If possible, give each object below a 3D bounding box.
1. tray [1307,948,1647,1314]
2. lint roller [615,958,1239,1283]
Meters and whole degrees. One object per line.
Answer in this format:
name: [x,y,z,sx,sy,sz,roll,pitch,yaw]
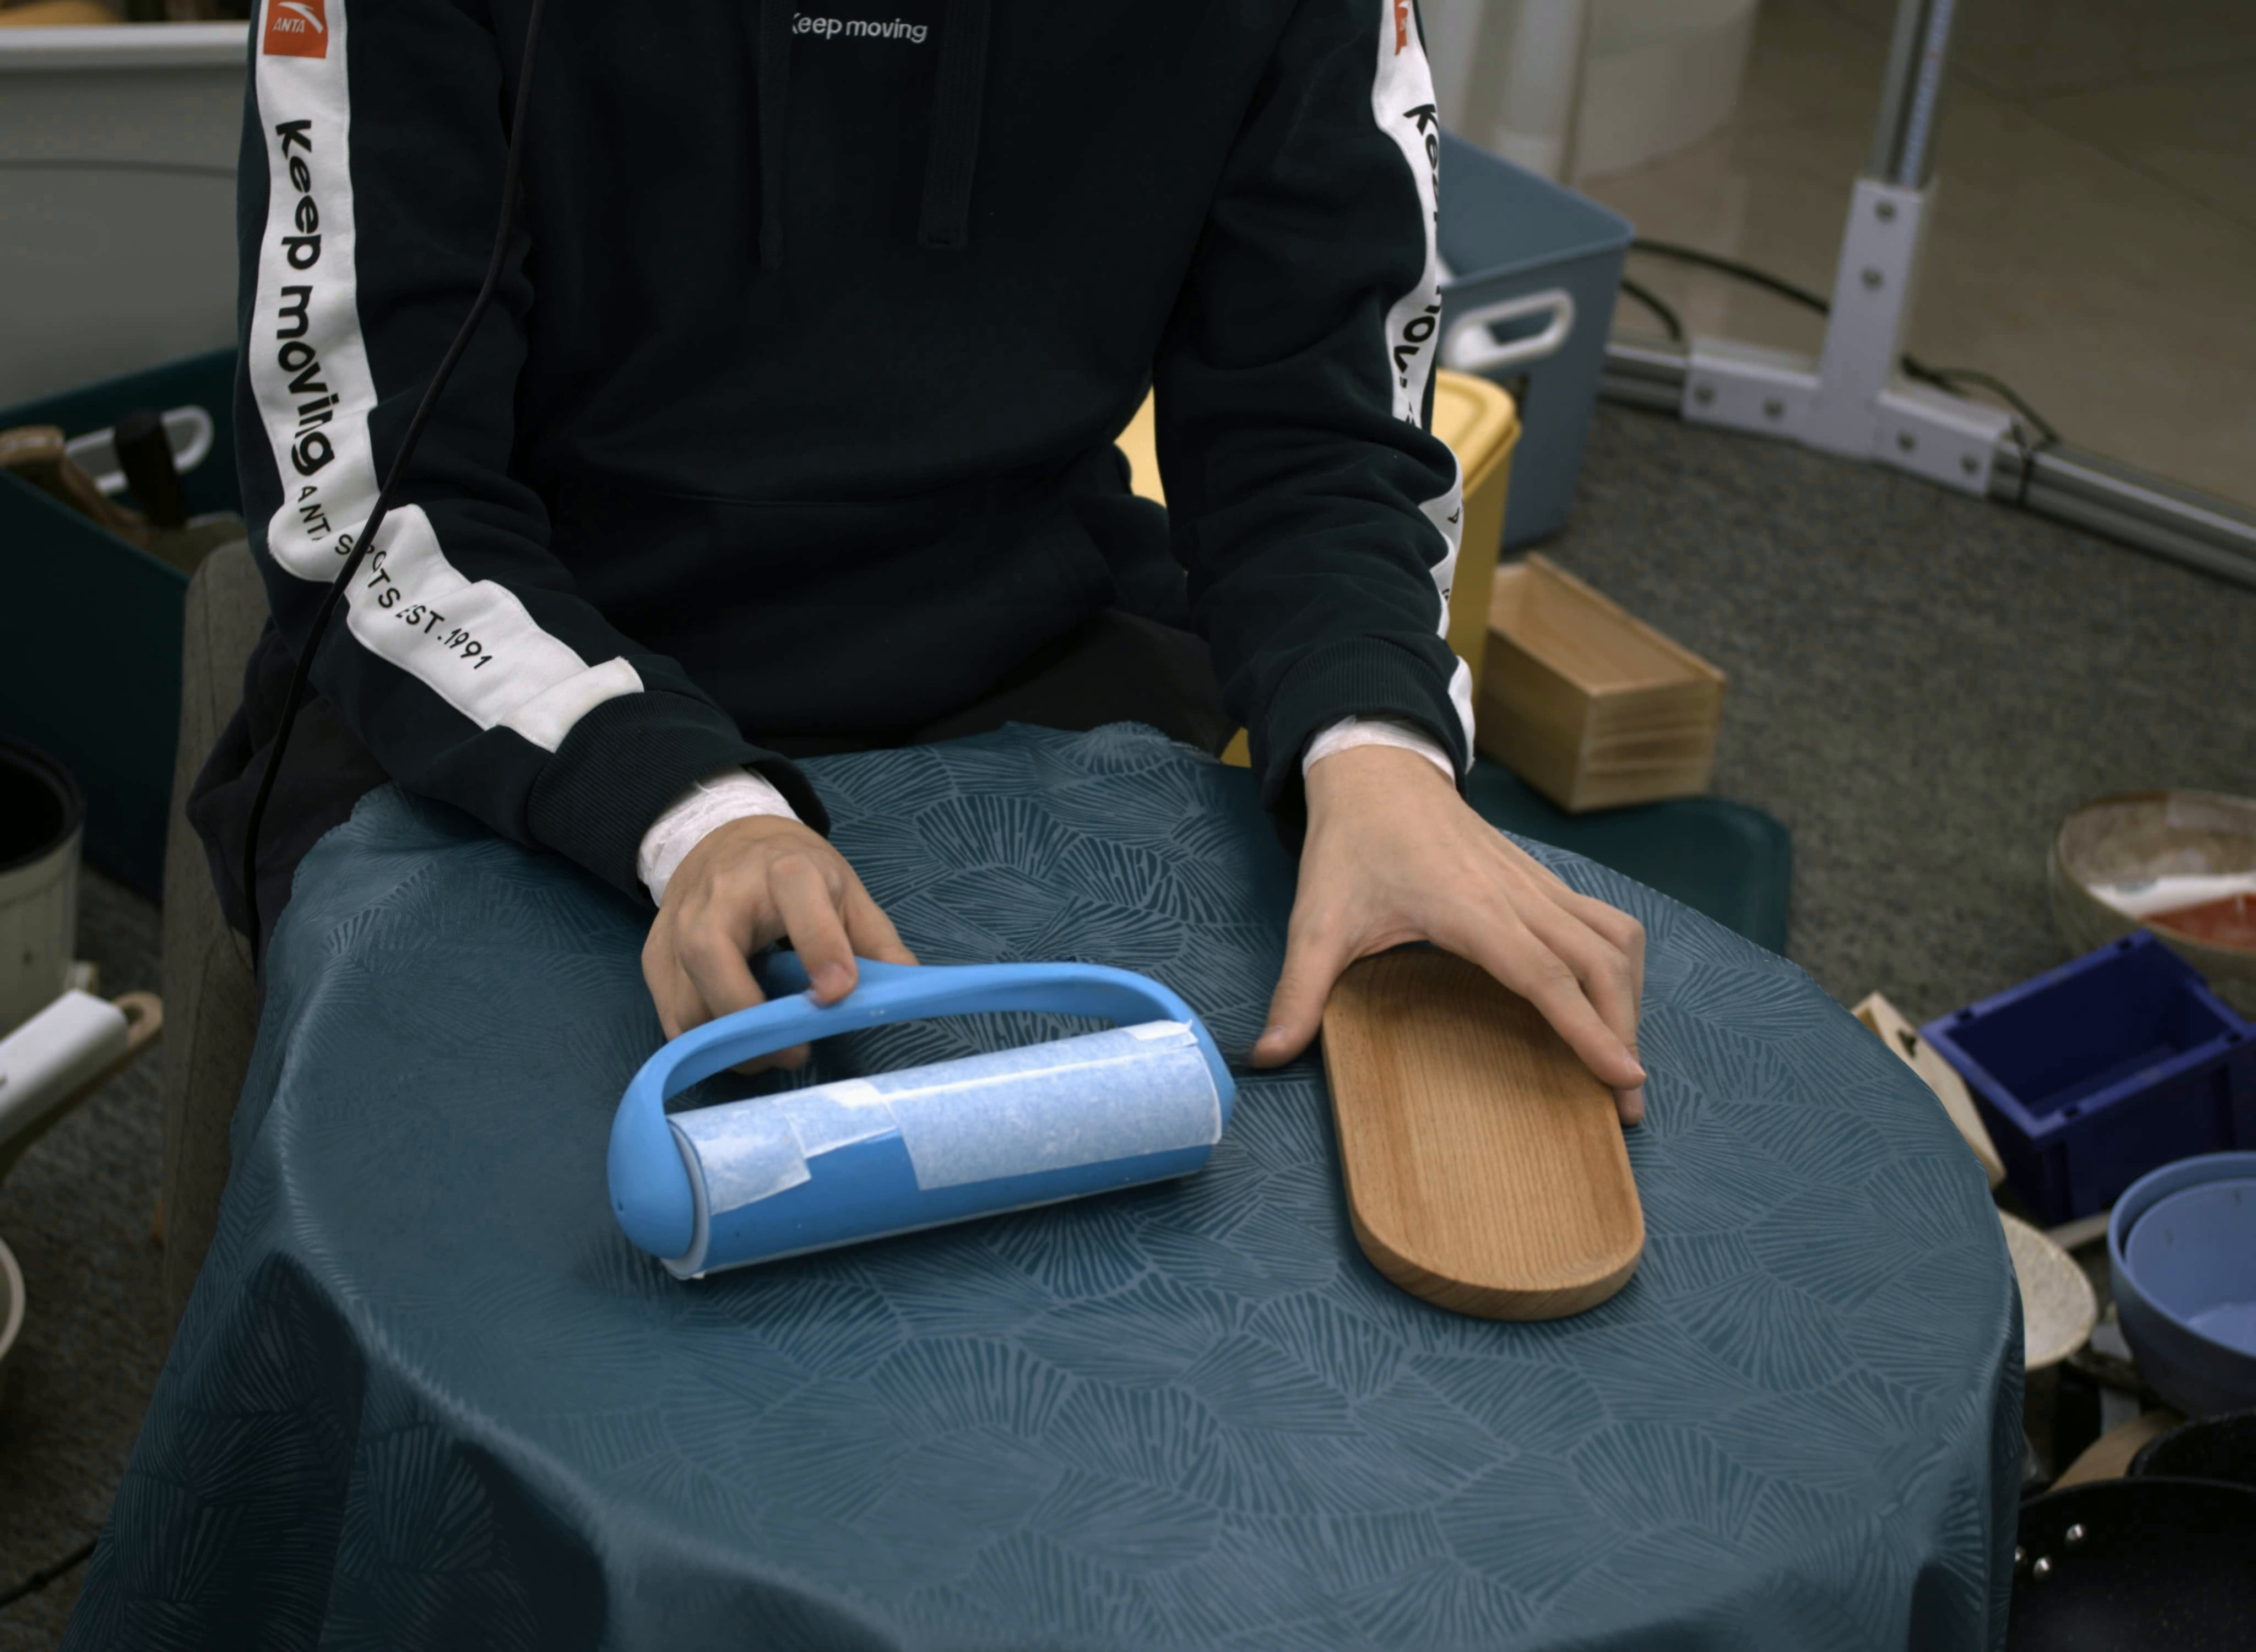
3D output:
tray: [0.119,0.103,1.847,0.101,0.020,0.233,4,25,-7]
lint roller: [-0.095,0.079,1.802,0.227,0.067,0.182,-12,33,-30]
